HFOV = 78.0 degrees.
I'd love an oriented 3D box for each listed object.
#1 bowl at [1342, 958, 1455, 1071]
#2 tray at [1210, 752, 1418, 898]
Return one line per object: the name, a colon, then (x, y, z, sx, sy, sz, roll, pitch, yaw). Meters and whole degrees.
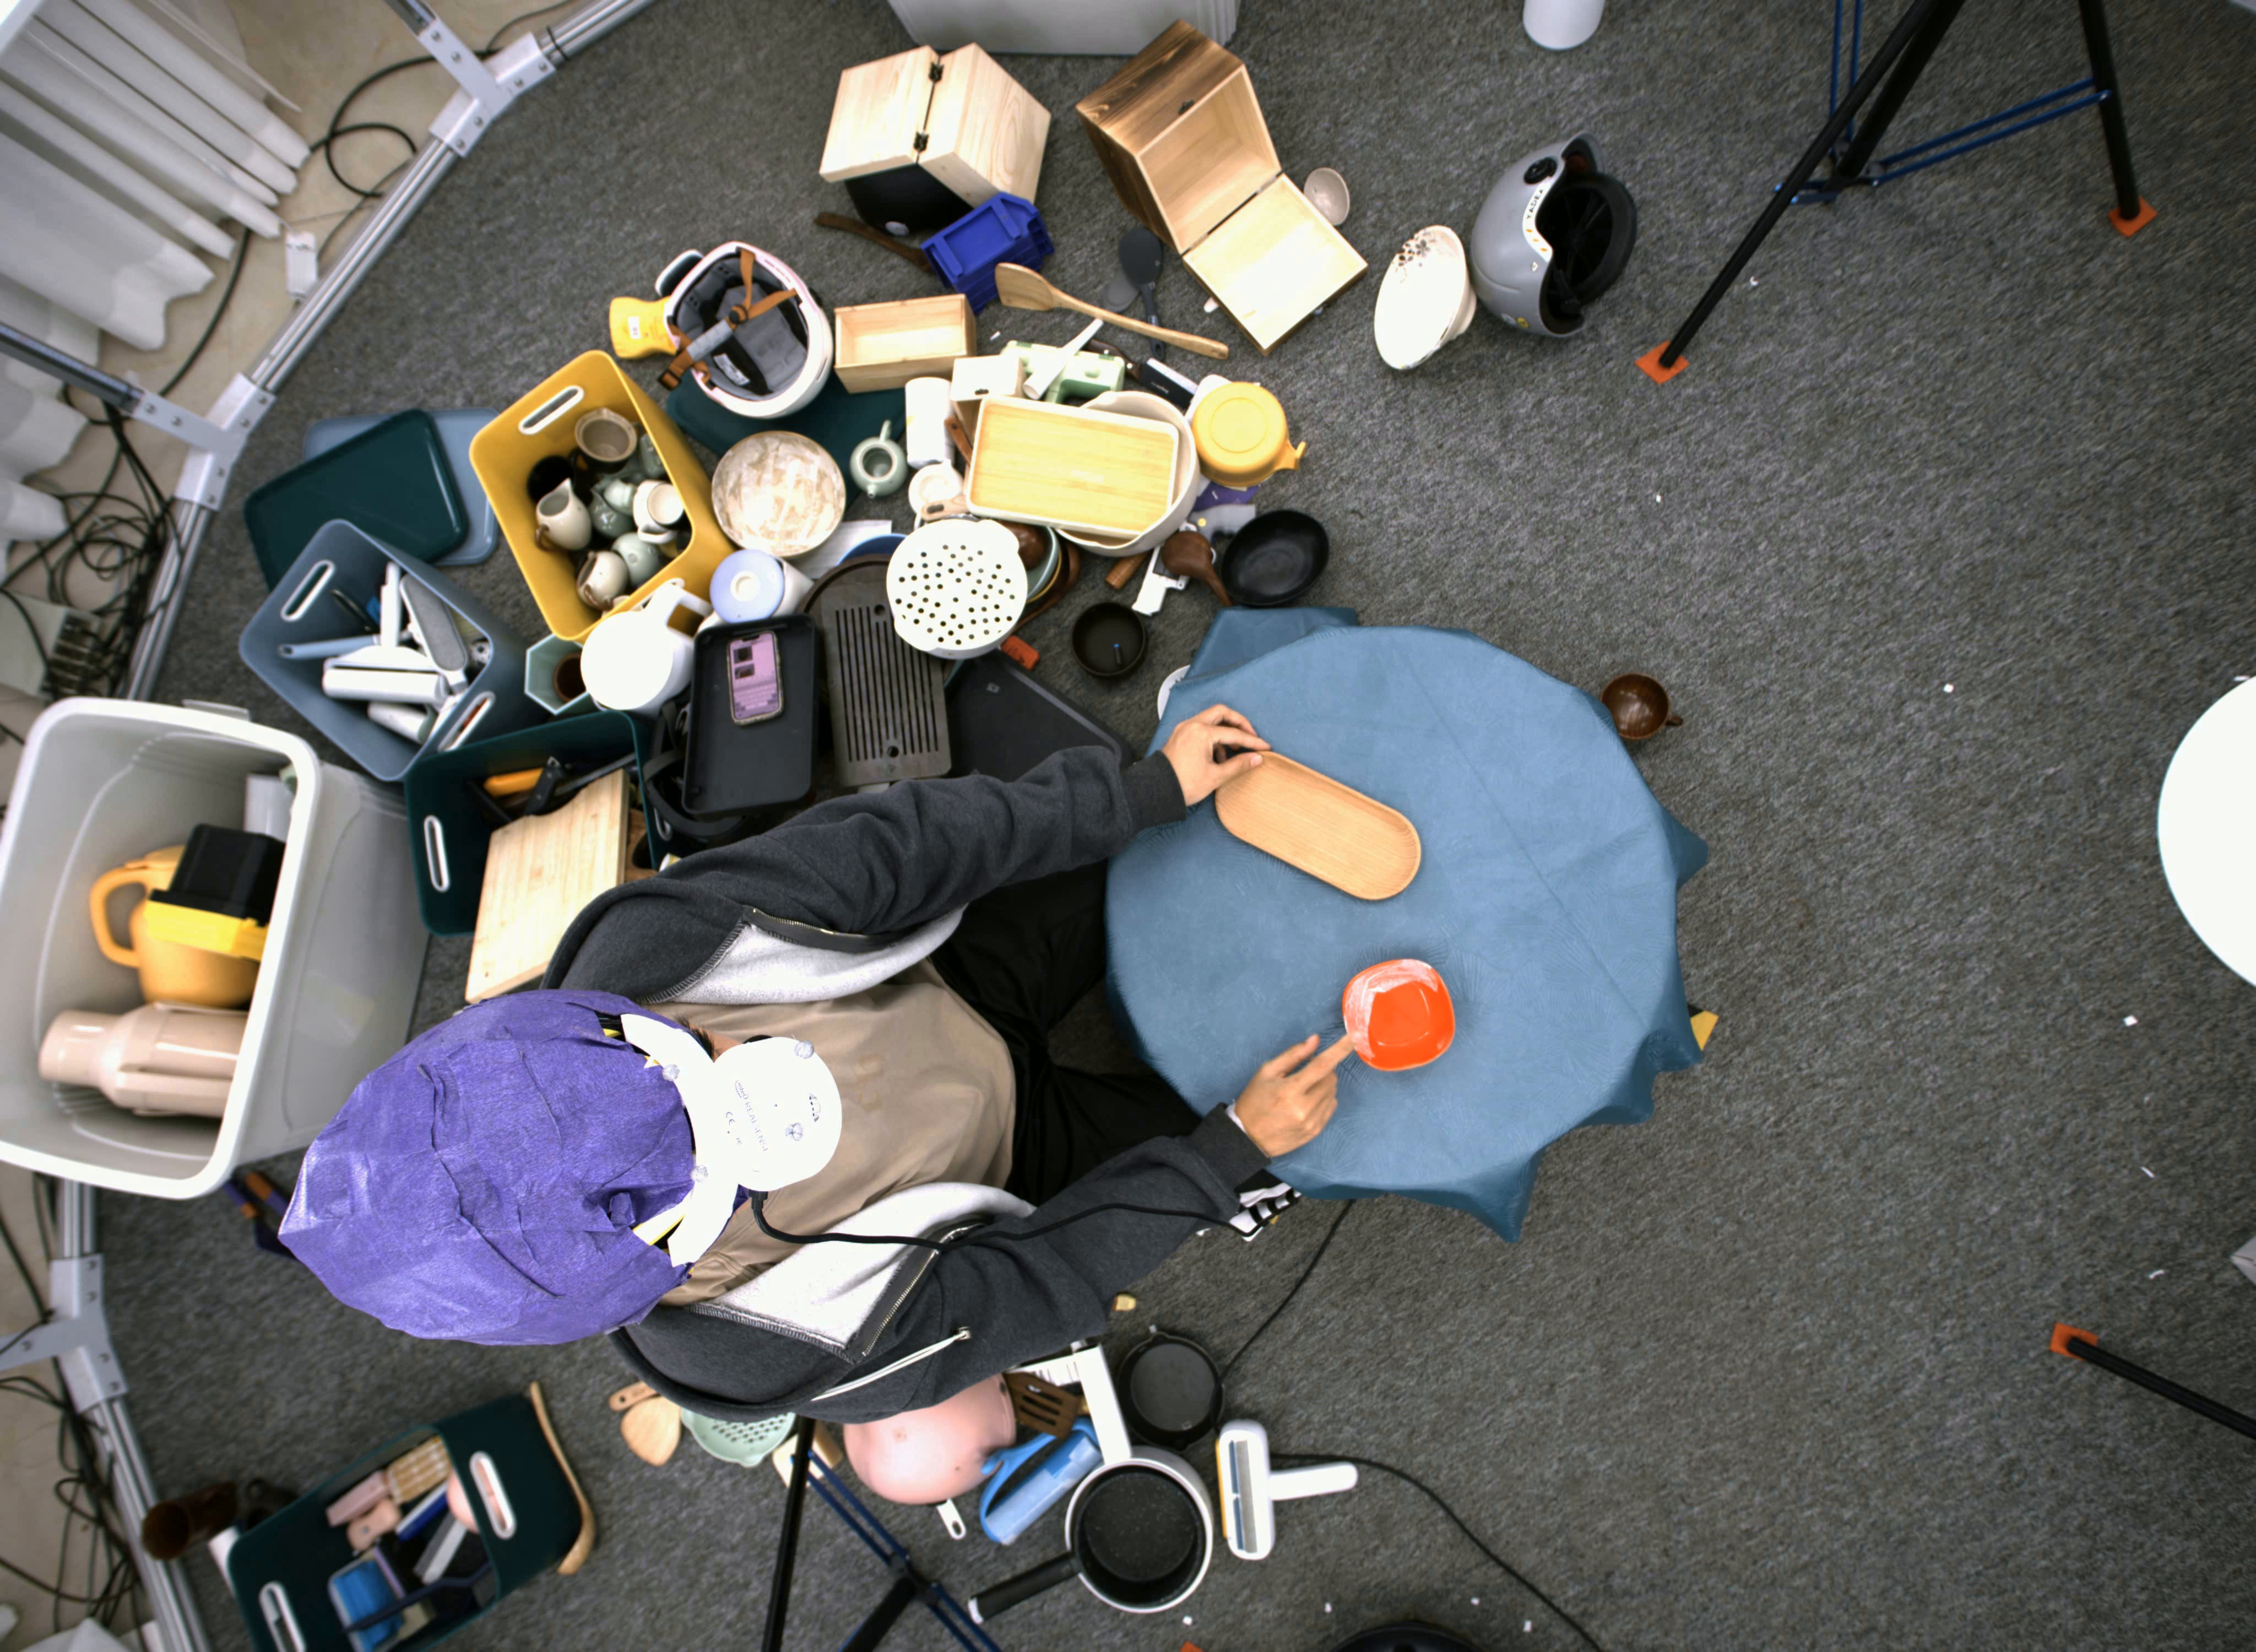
bowl: (0.277, 0.192, 1.423, 0.119, 0.051, 0.118, -1, 87, 8)
tray: (0.197, -0.002, 1.468, 0.231, 0.020, 0.101, 25, 91, 12)
